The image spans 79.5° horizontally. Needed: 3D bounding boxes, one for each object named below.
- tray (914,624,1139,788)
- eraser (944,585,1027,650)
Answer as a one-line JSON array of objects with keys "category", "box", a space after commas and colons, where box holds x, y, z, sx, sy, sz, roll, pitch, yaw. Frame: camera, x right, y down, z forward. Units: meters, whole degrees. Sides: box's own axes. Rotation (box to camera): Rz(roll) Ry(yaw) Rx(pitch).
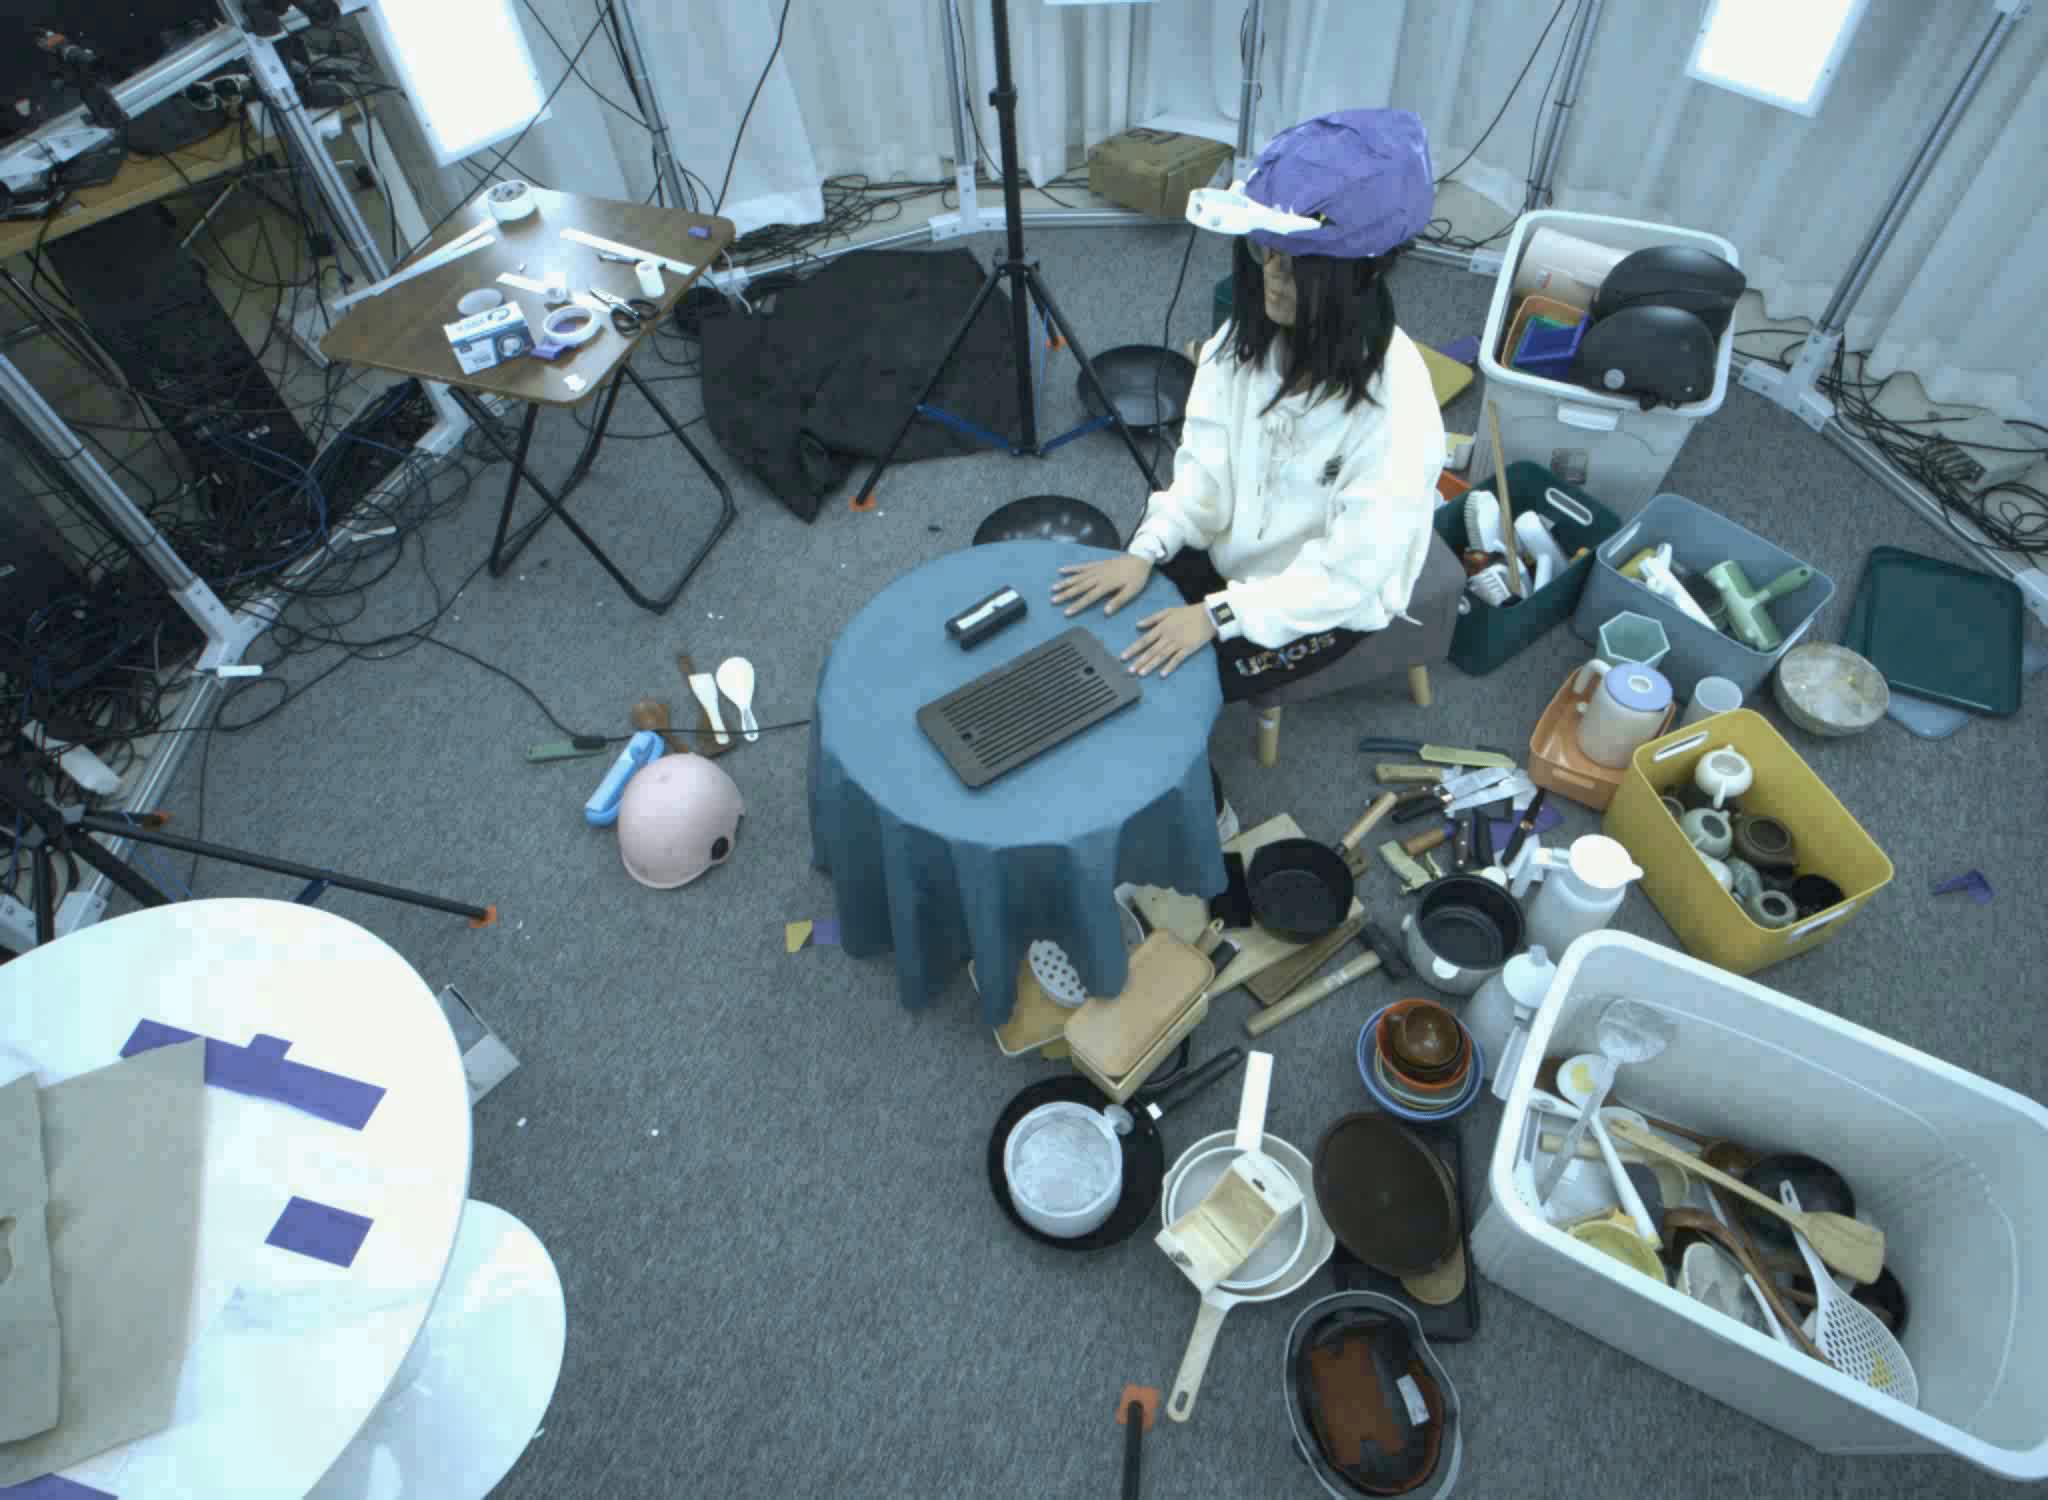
[{"category": "tray", "box": [0.004, -0.068, 1.825, 0.308, 0.019, 0.167, -29, 59, -17]}, {"category": "eraser", "box": [-0.060, -0.208, 1.920, 0.126, 0.031, 0.052, -33, 63, -21]}]
